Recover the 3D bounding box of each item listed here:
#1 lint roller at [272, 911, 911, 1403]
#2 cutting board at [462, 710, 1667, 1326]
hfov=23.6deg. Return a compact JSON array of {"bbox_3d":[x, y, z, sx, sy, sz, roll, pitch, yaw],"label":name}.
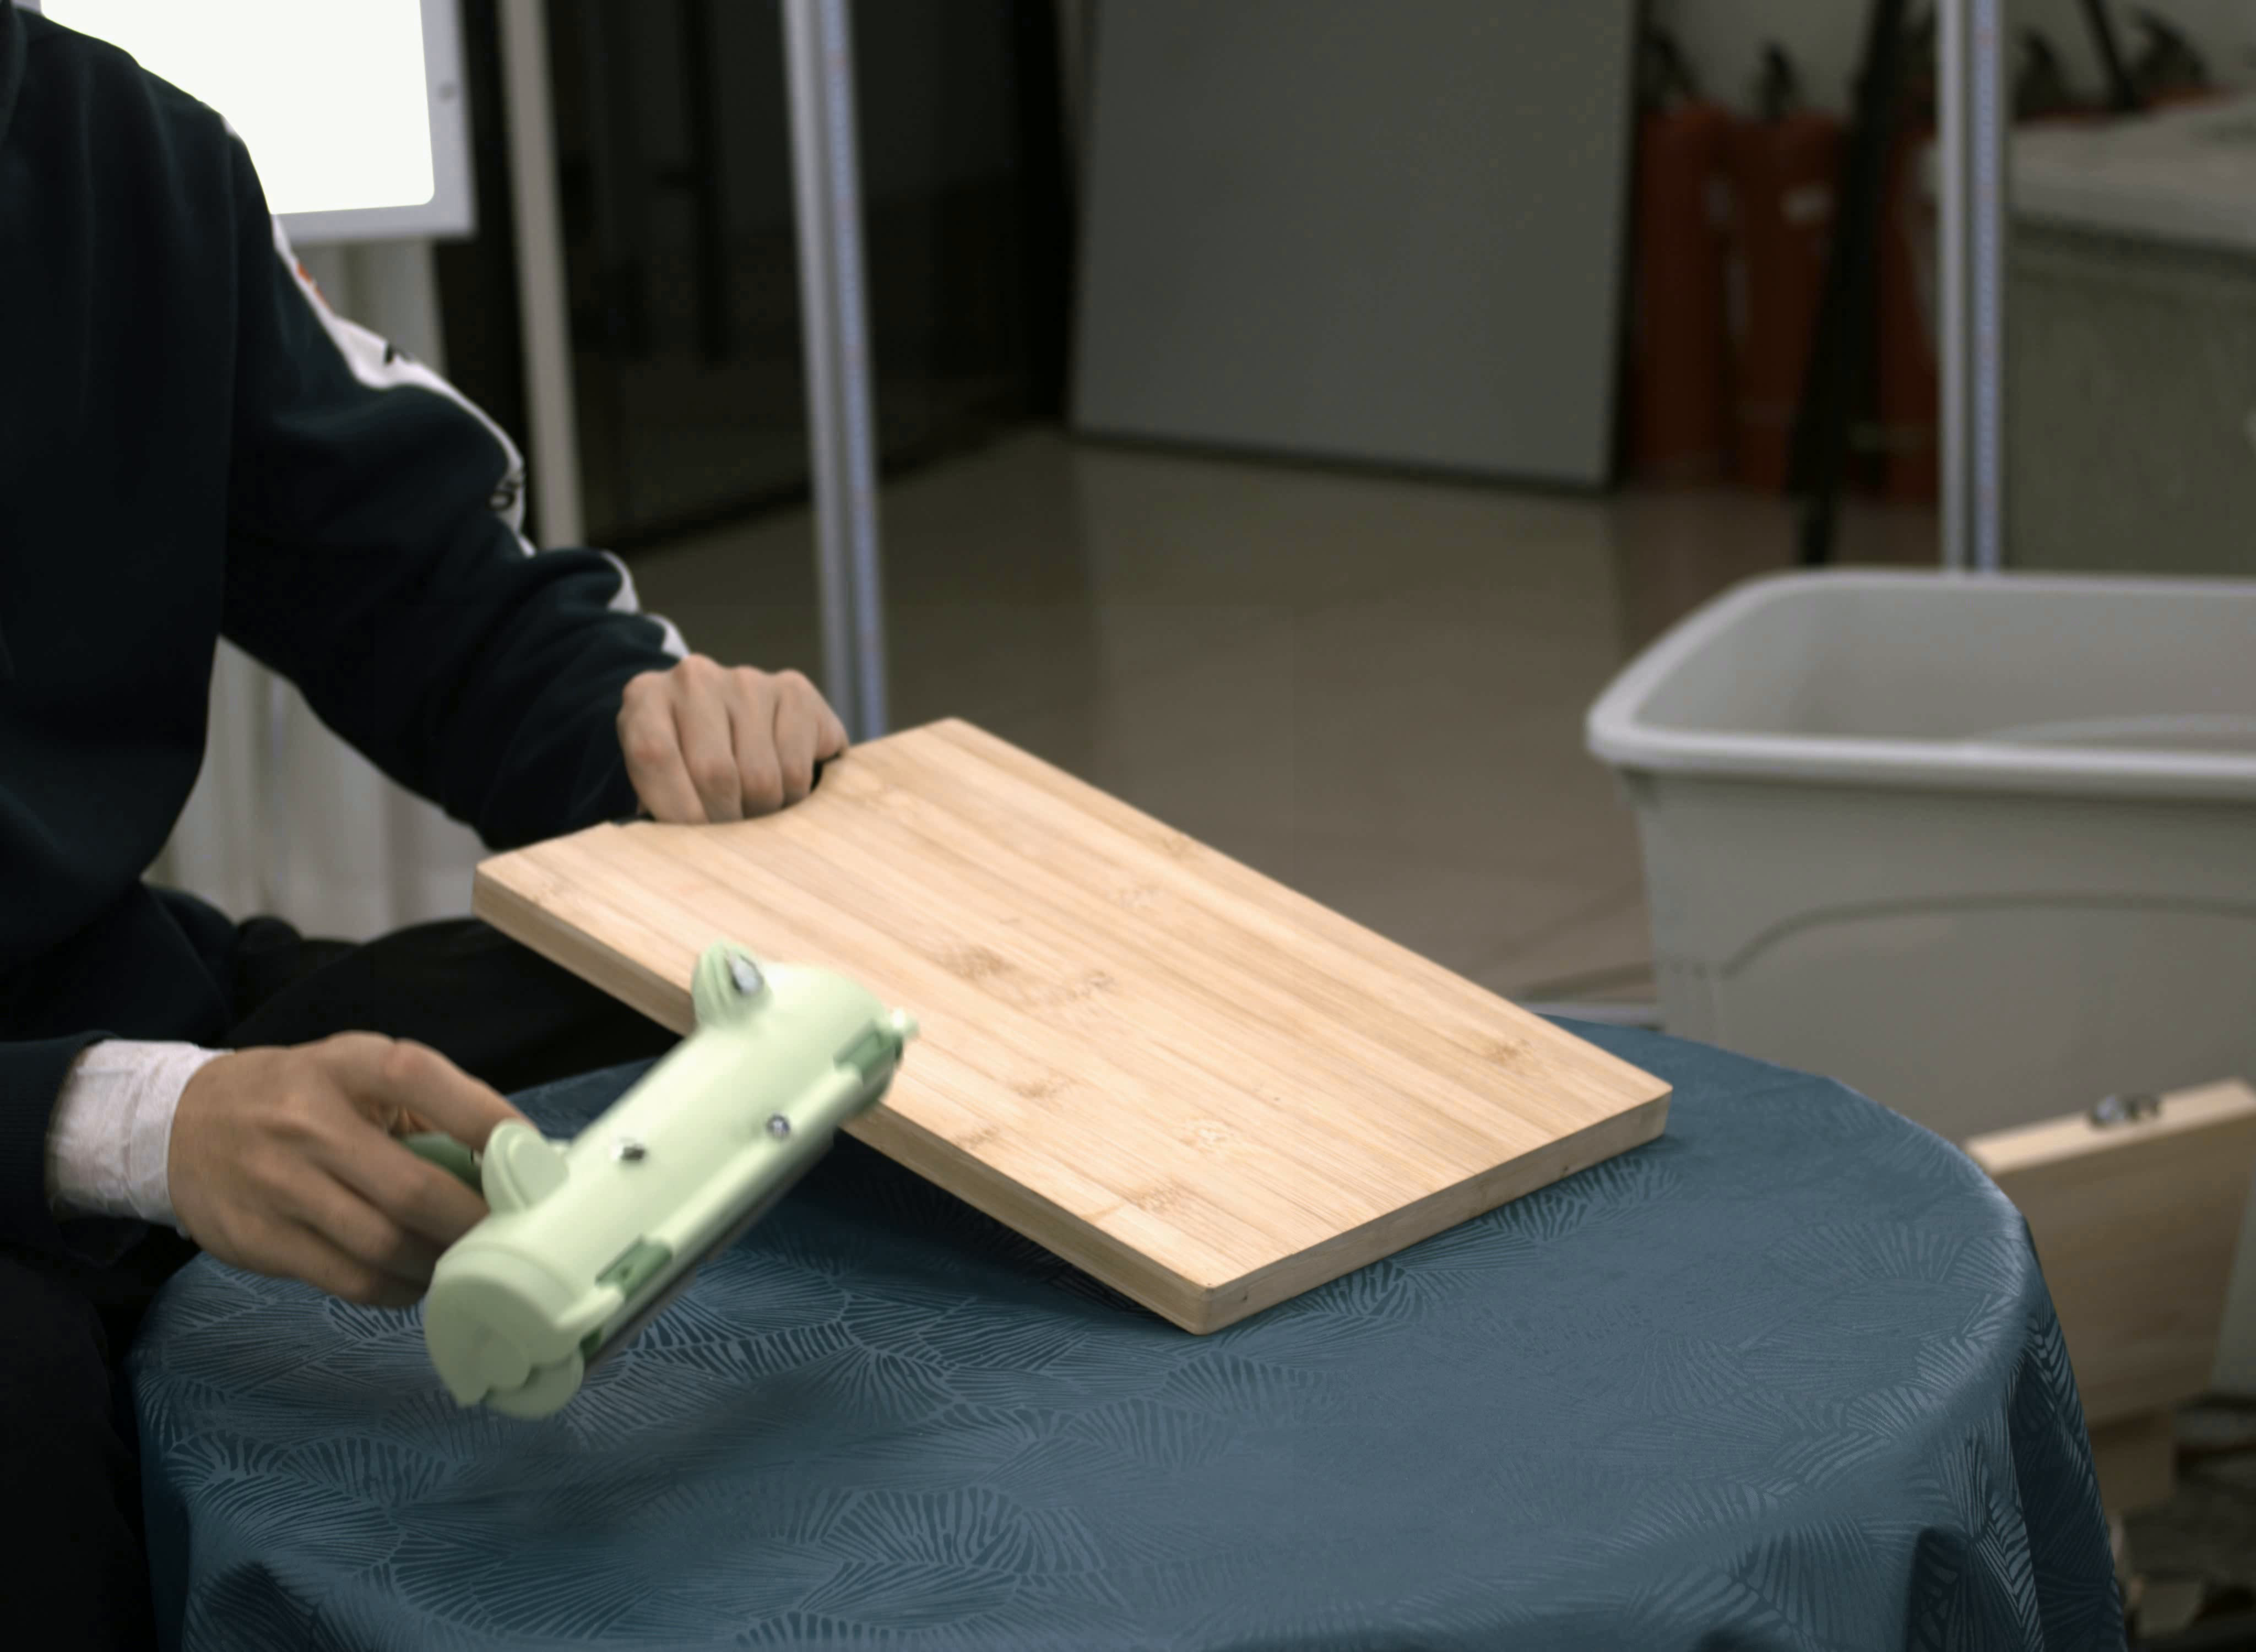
[{"bbox_3d":[-0.182,0.087,1.588,0.184,0.083,0.196,3,28,28],"label":"lint roller"},{"bbox_3d":[-0.023,0.056,1.813,0.352,0.024,0.246,27,30,35],"label":"cutting board"}]
